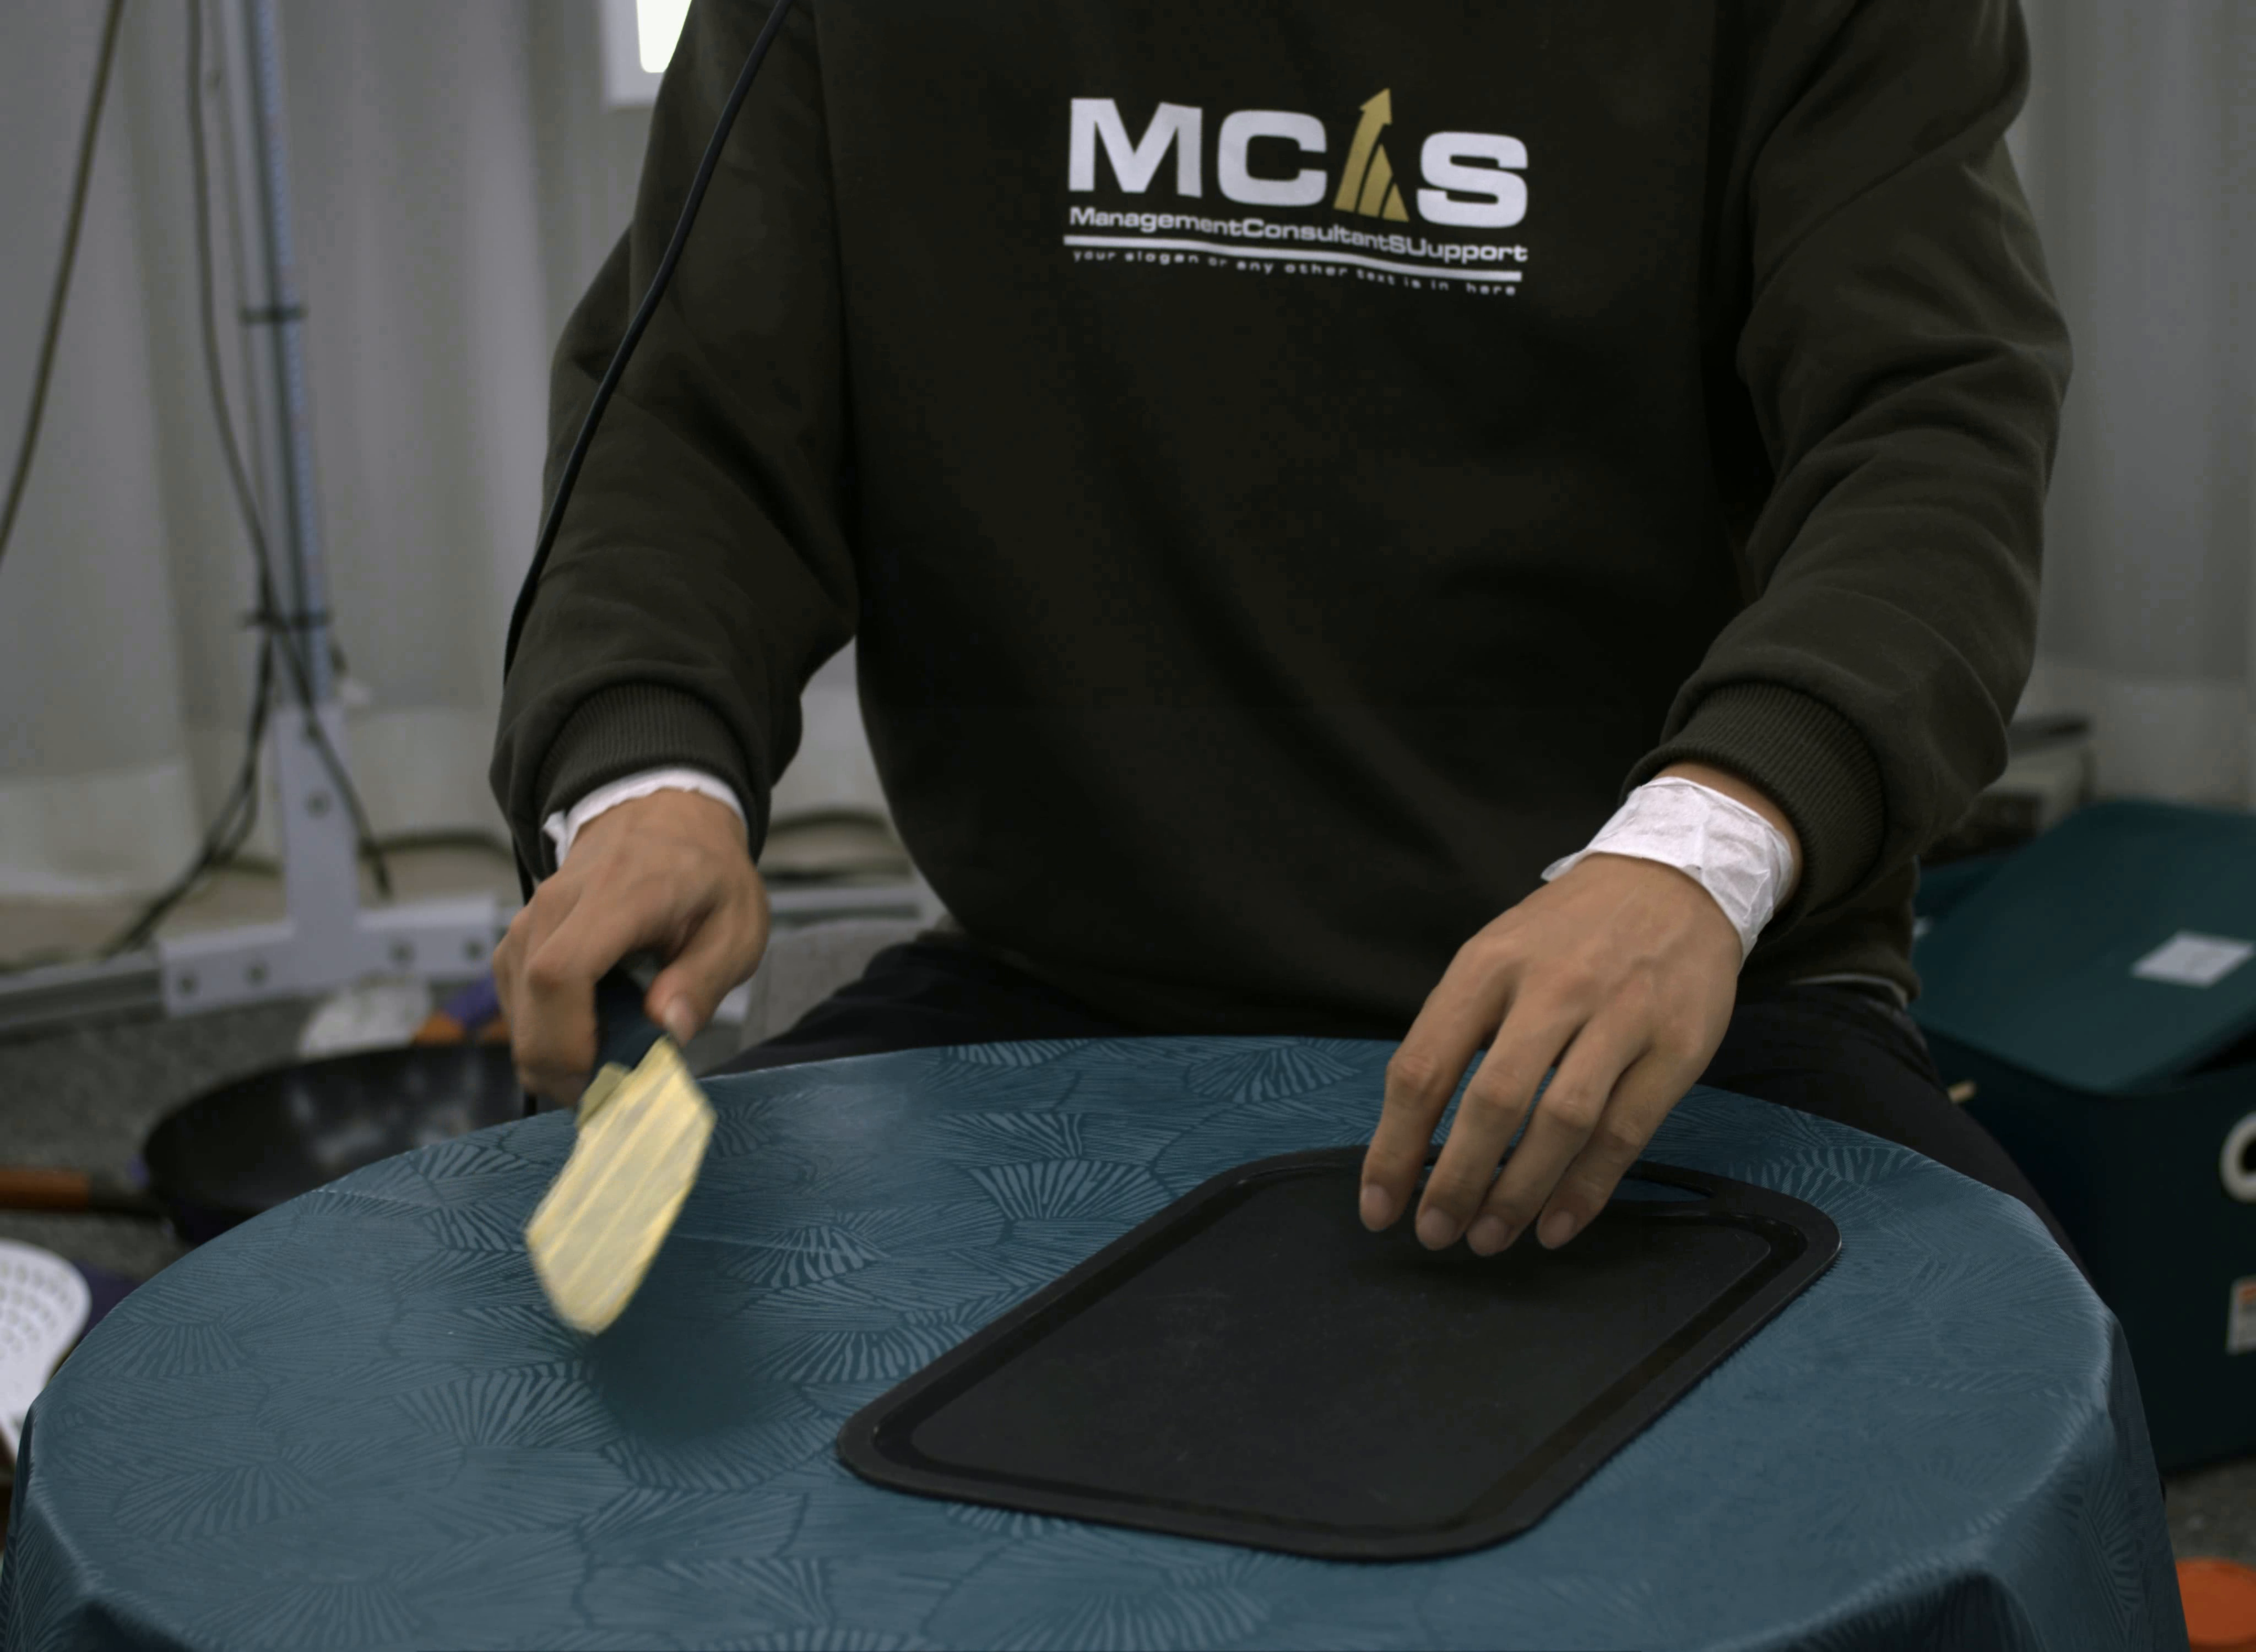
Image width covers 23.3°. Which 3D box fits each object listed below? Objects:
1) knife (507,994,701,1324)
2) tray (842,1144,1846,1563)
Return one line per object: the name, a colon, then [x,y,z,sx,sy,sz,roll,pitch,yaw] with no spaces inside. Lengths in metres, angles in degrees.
knife: [-0.160,0.097,1.649,0.027,0.081,0.291,40,3,-13]
tray: [0.071,0.143,1.583,0.211,0.010,0.326,5,17,28]
